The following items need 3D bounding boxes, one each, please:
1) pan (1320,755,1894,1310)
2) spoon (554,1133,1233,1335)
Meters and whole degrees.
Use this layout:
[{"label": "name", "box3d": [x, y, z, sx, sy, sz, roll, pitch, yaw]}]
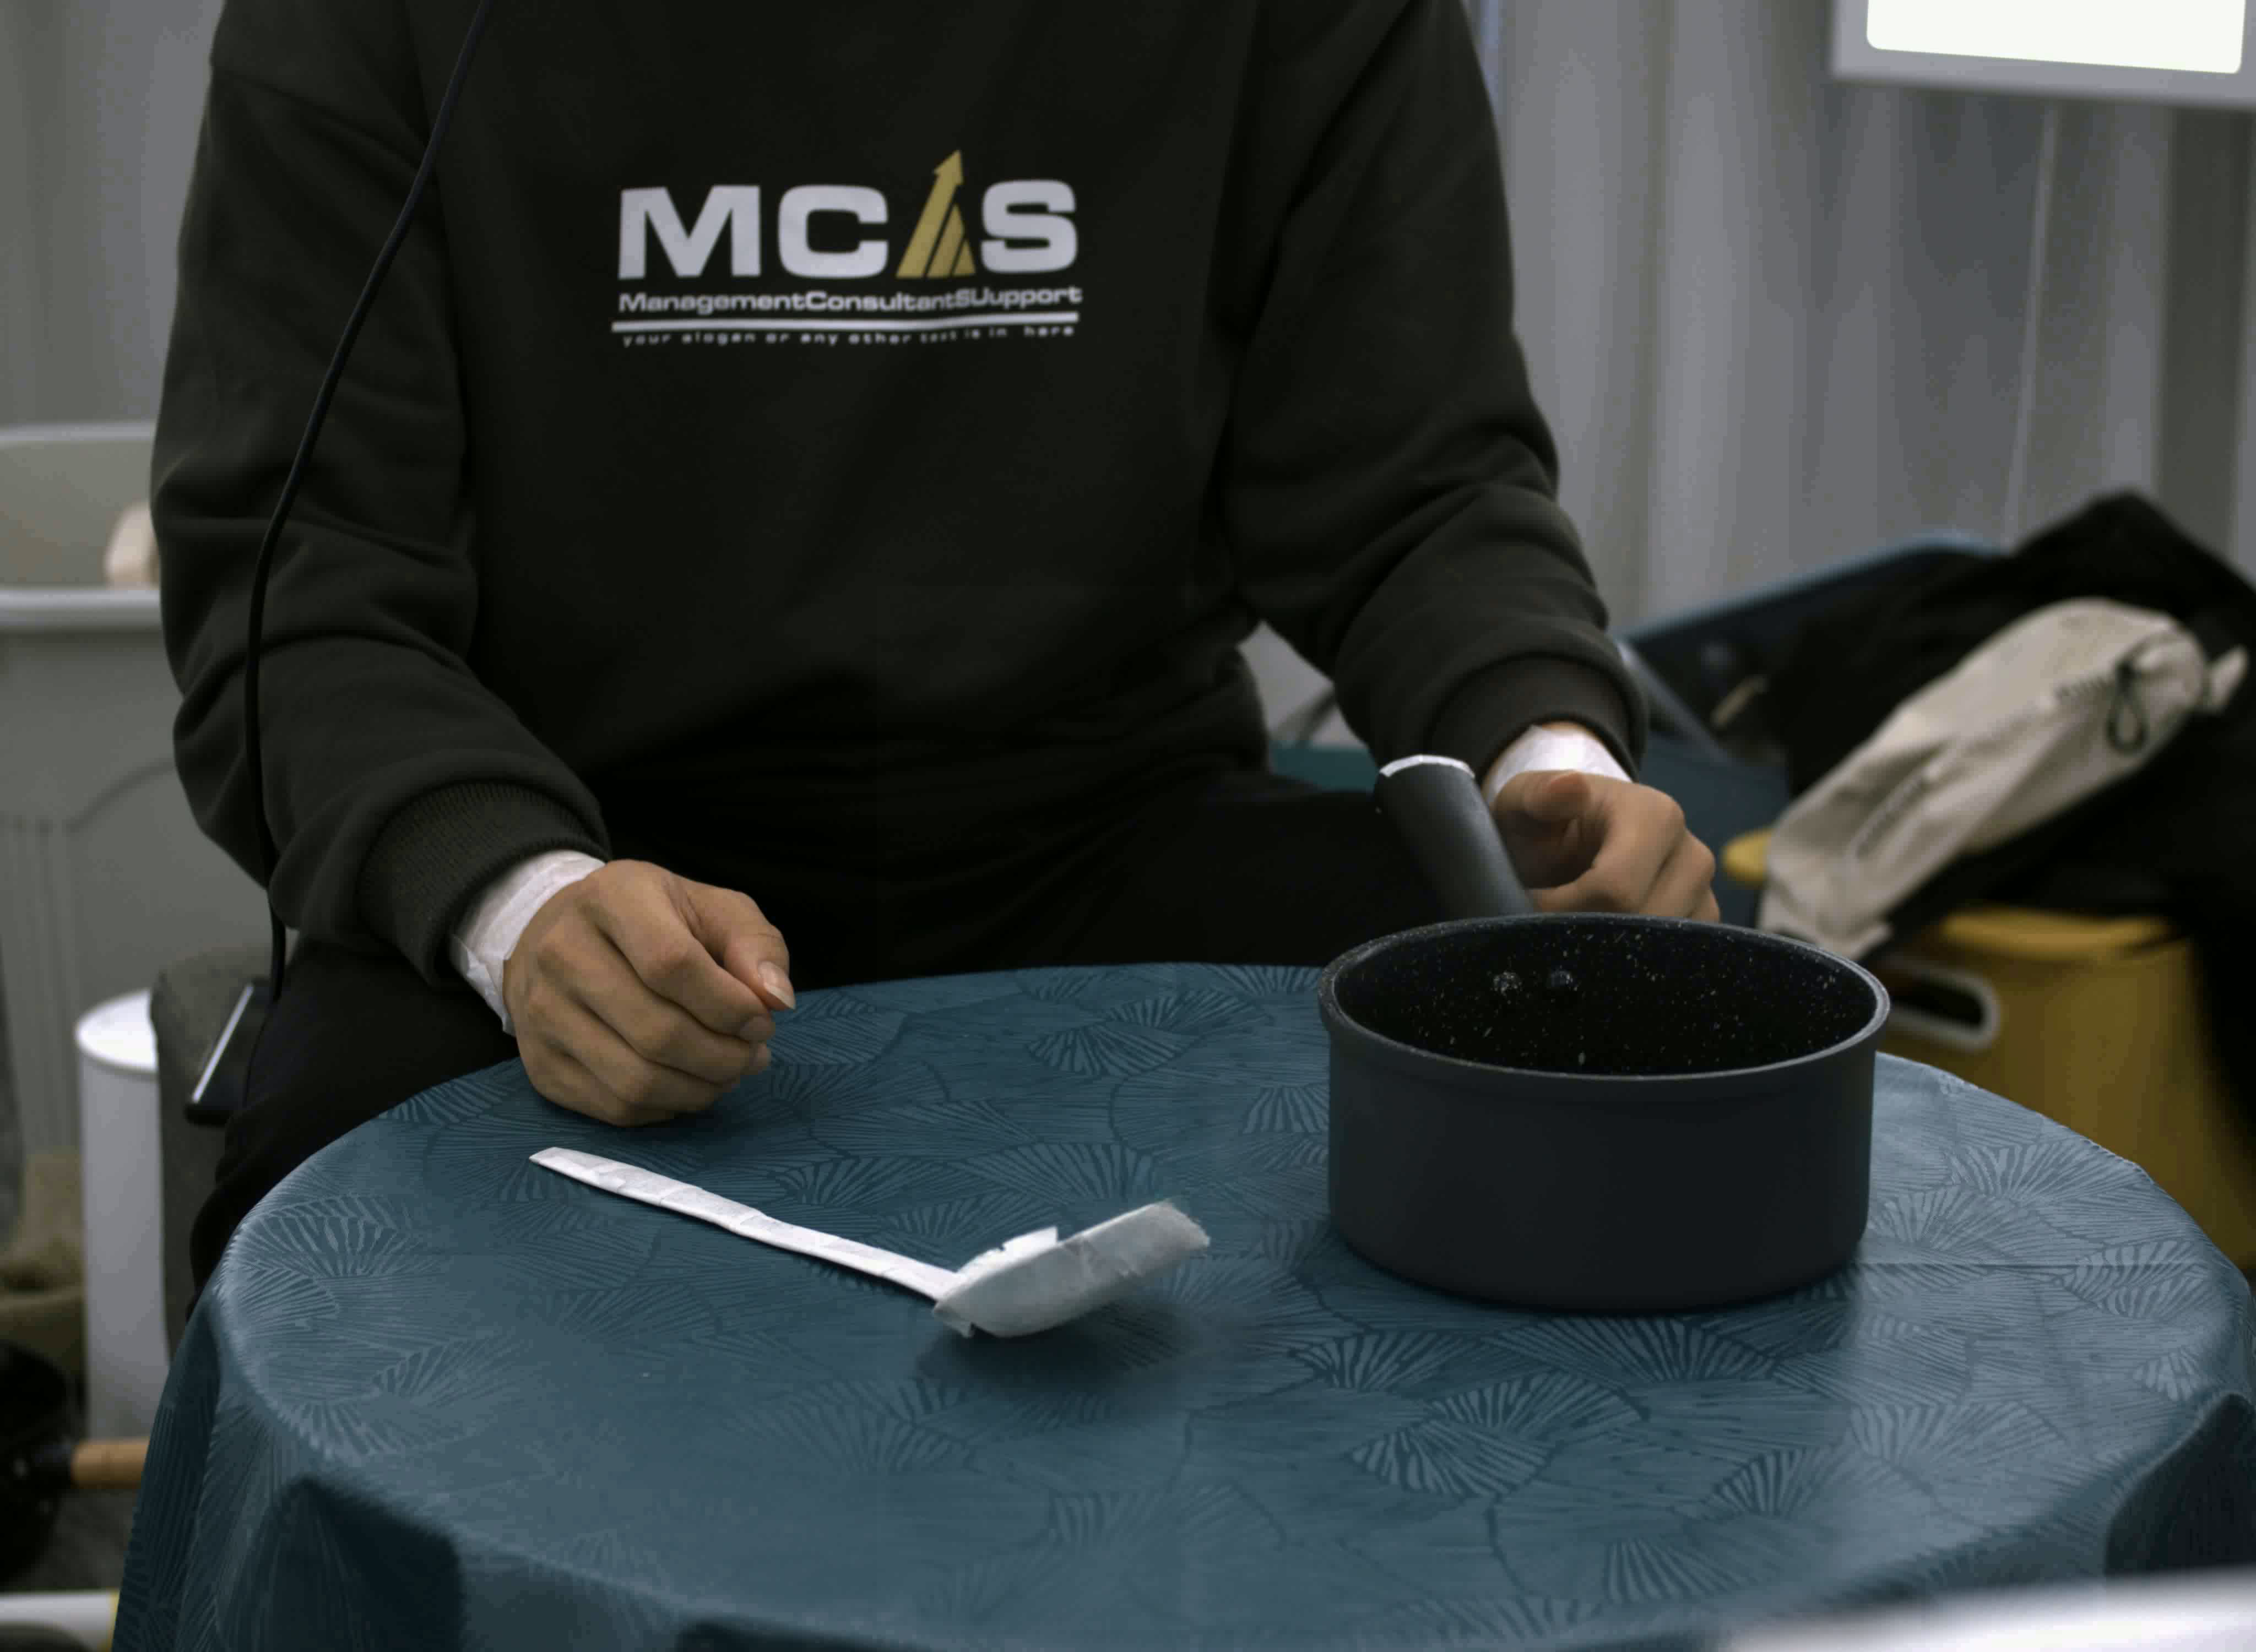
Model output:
[{"label": "pan", "box3d": [0.132, 0.061, 1.659, 0.172, 0.087, 0.326, 0, 16, -7]}, {"label": "spoon", "box3d": [-0.079, 0.100, 1.558, 0.101, 0.060, 0.273, -11, 19, -43]}]
